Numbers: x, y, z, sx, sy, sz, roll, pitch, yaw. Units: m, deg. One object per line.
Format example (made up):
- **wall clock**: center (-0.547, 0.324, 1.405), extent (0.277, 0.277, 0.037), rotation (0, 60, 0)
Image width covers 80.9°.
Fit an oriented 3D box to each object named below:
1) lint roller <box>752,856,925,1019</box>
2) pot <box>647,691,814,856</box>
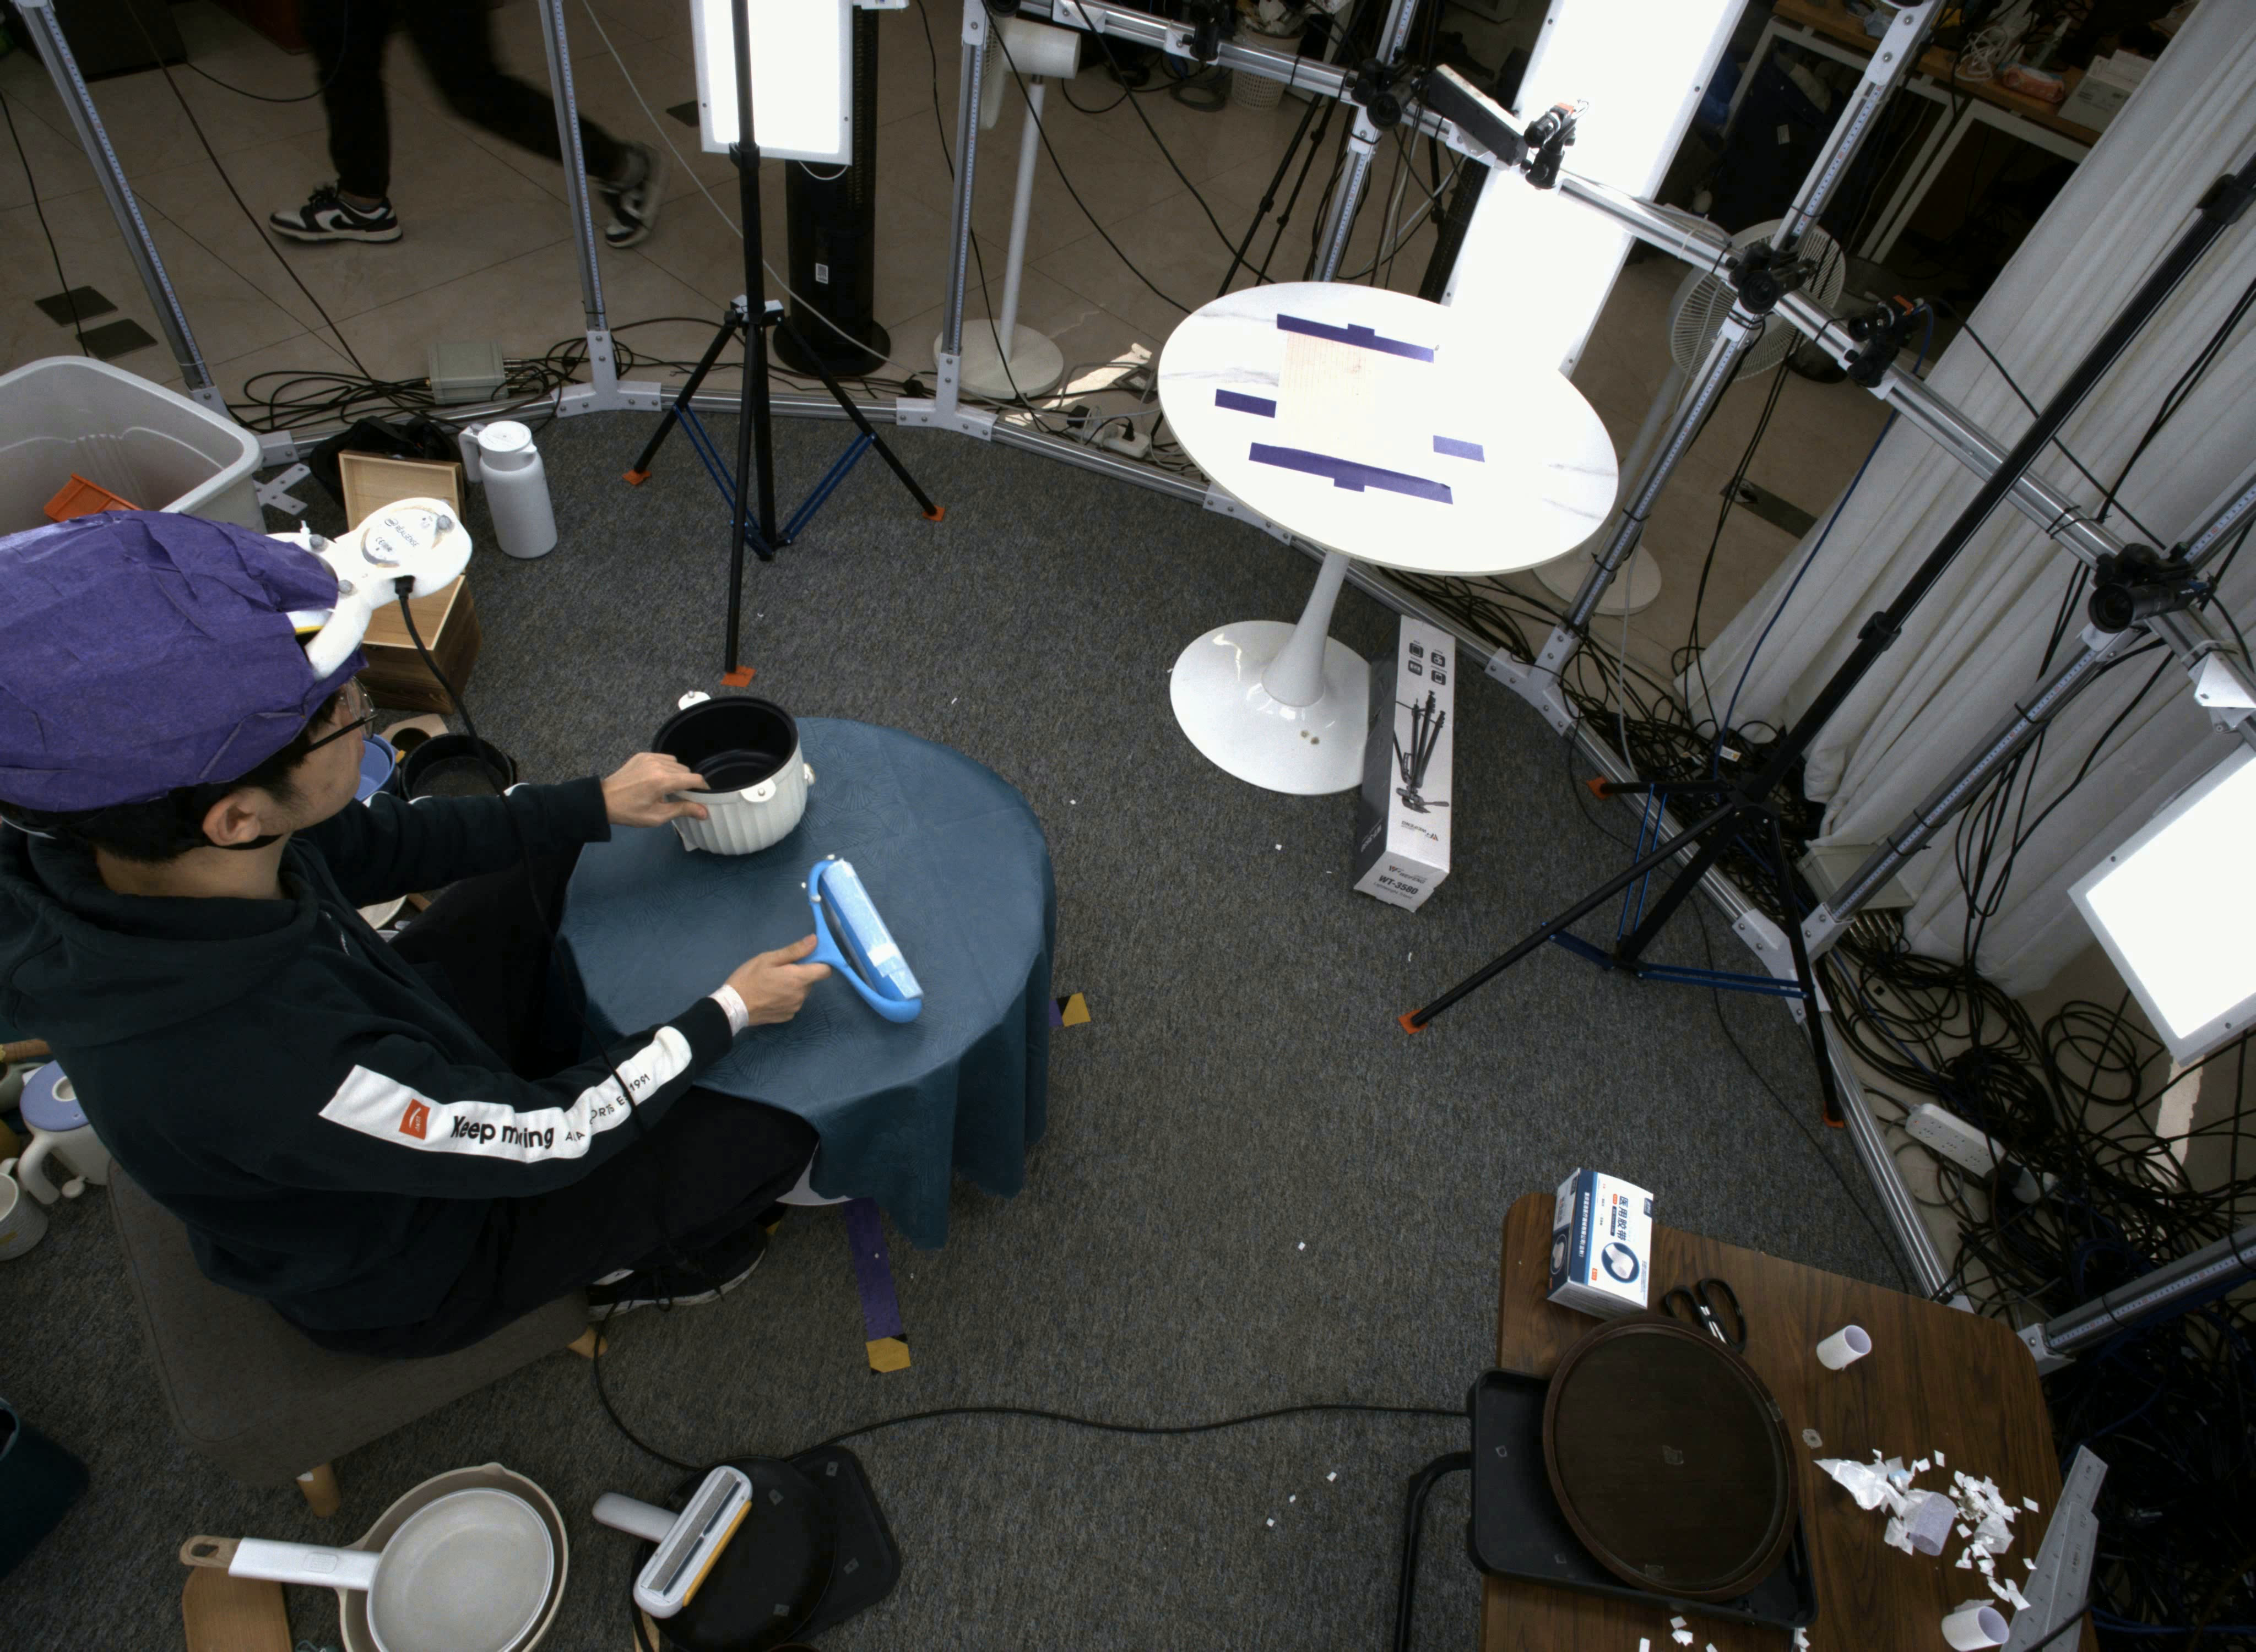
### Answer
- **lint roller**: center (-0.363, 0.155, 1.551), extent (0.181, 0.068, 0.227), rotation (-29, 77, -29)
- **pot**: center (-0.502, -0.063, 1.654), extent (0.191, 0.147, 0.232), rotation (-30, 55, -24)
